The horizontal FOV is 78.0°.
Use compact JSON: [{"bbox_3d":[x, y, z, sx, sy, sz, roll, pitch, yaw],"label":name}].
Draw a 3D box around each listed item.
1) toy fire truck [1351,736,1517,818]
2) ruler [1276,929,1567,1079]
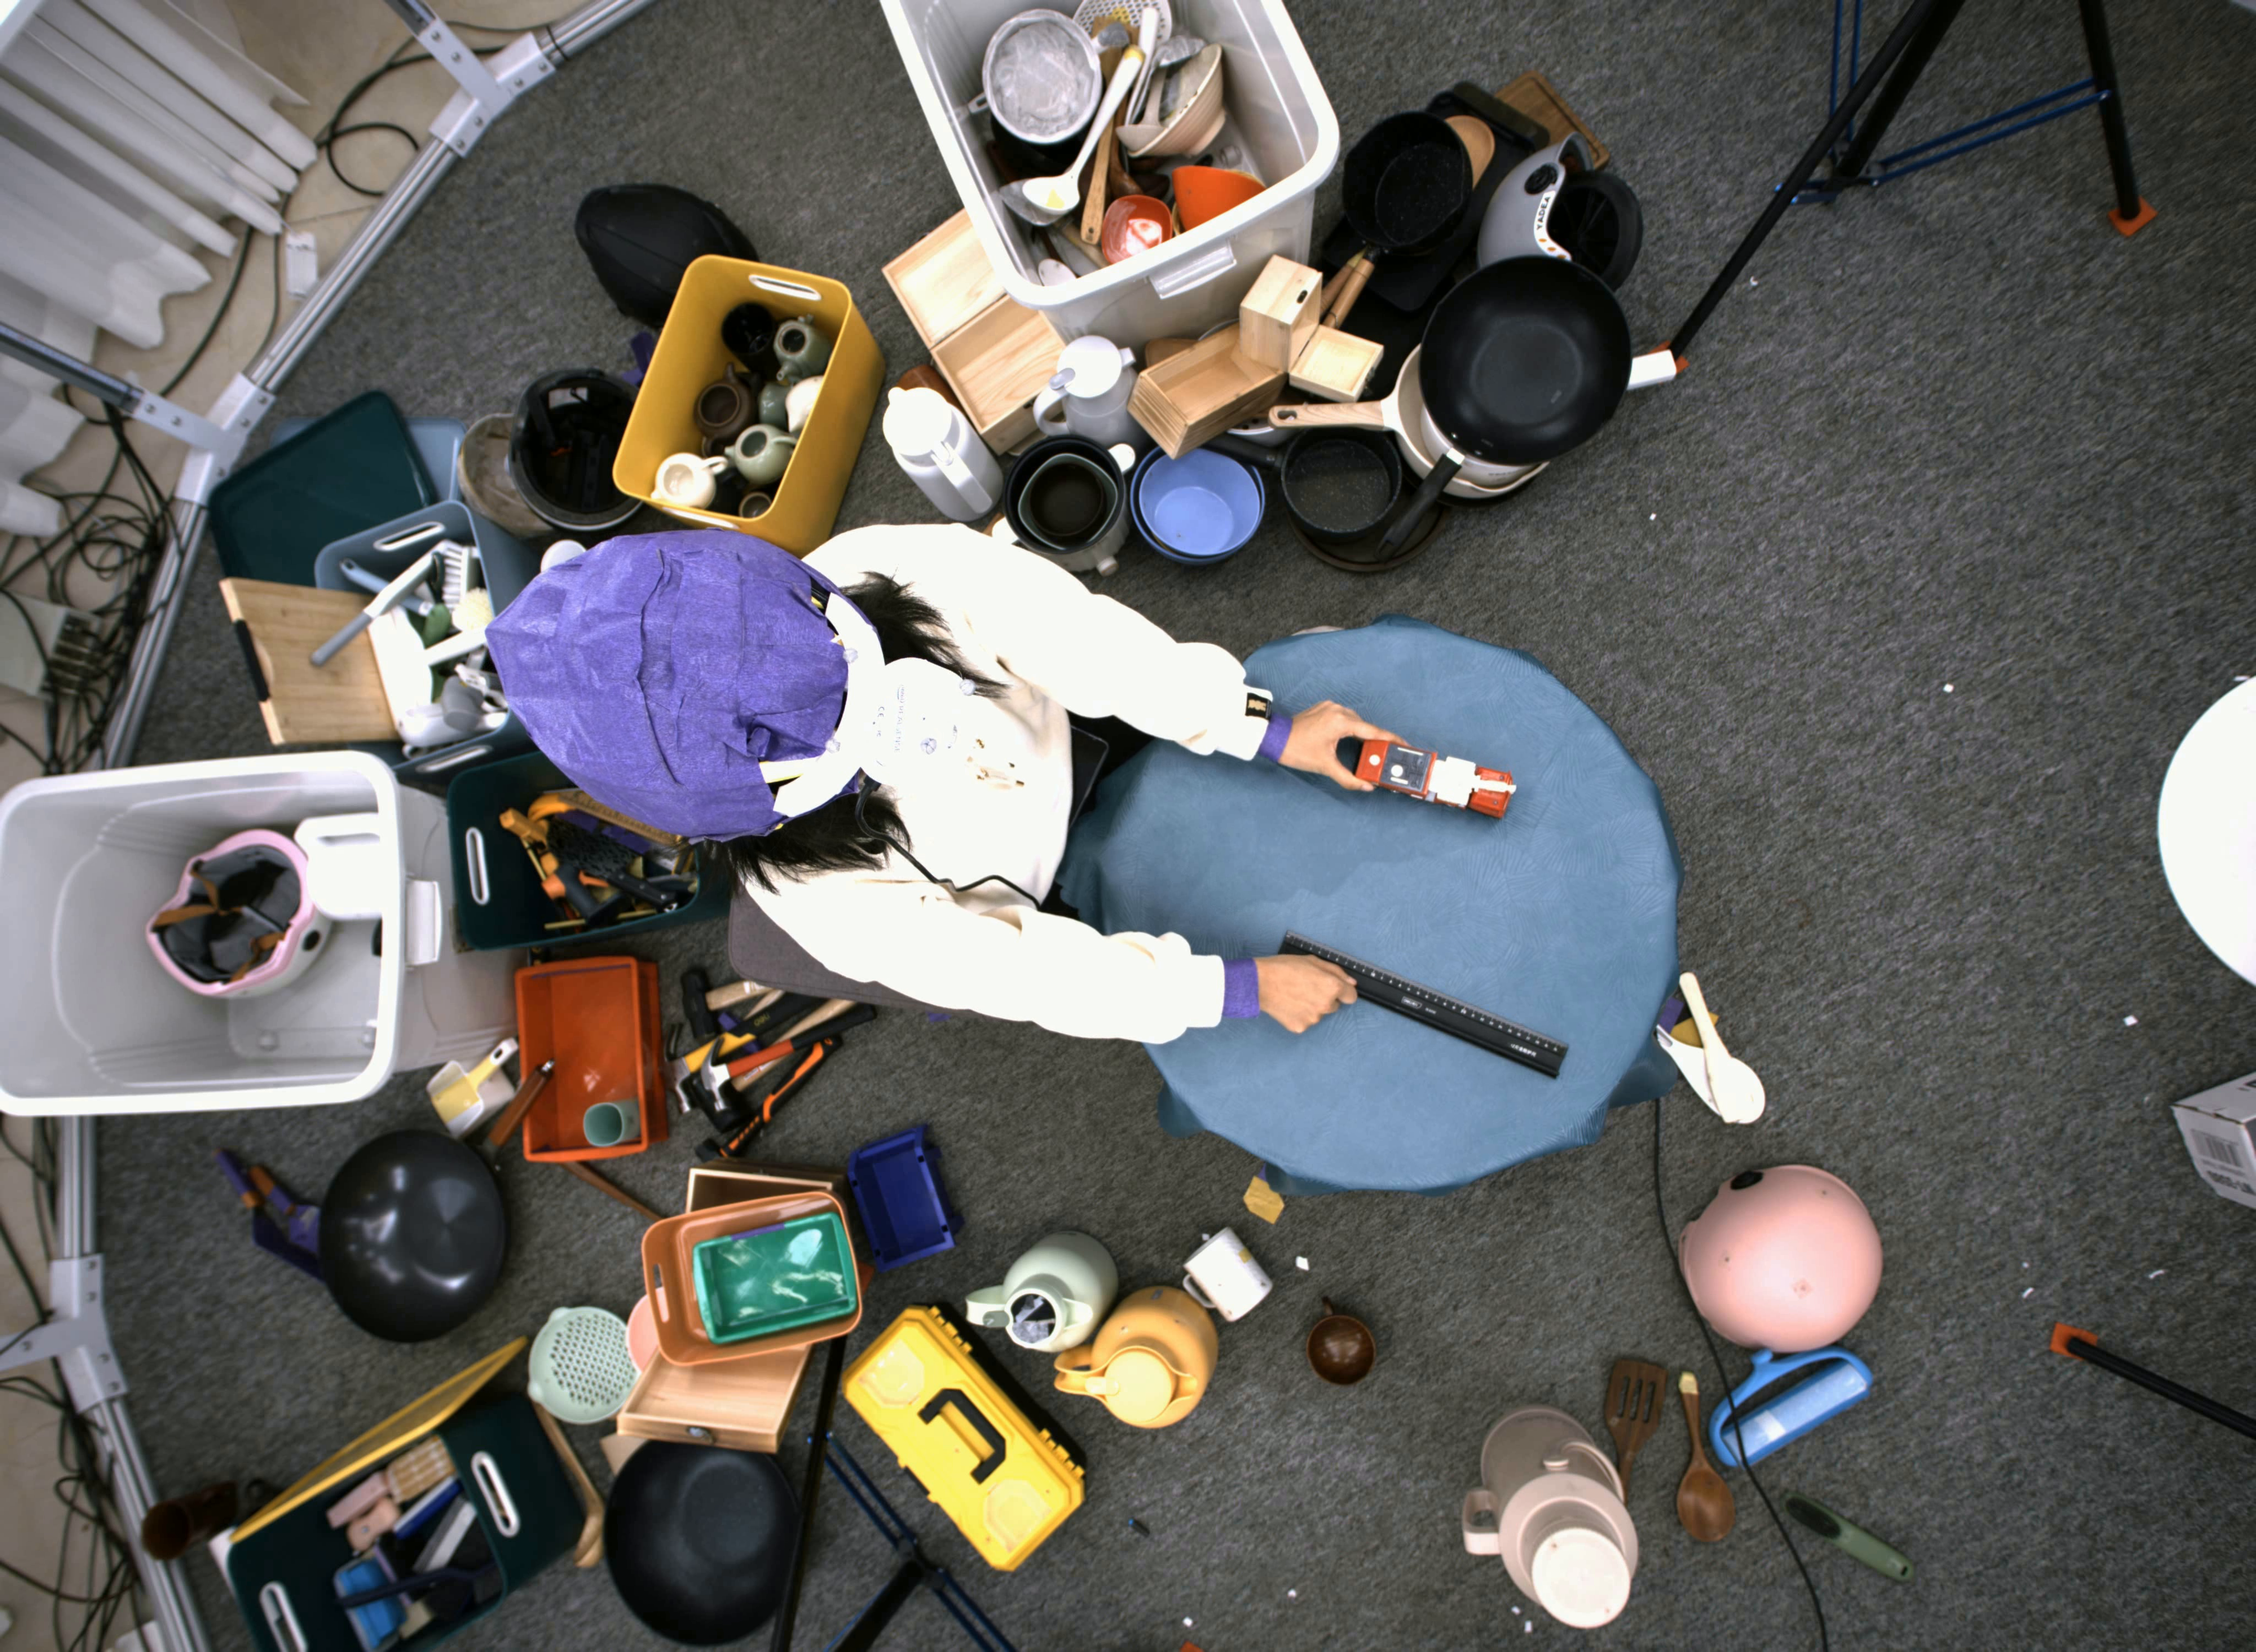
[{"bbox_3d":[0.318,-0.053,1.428,0.168,0.070,0.054,15,87,12],"label":"toy fire truck"},{"bbox_3d":[0.304,0.183,1.440,0.312,0.017,0.039,23,88,11],"label":"ruler"}]
